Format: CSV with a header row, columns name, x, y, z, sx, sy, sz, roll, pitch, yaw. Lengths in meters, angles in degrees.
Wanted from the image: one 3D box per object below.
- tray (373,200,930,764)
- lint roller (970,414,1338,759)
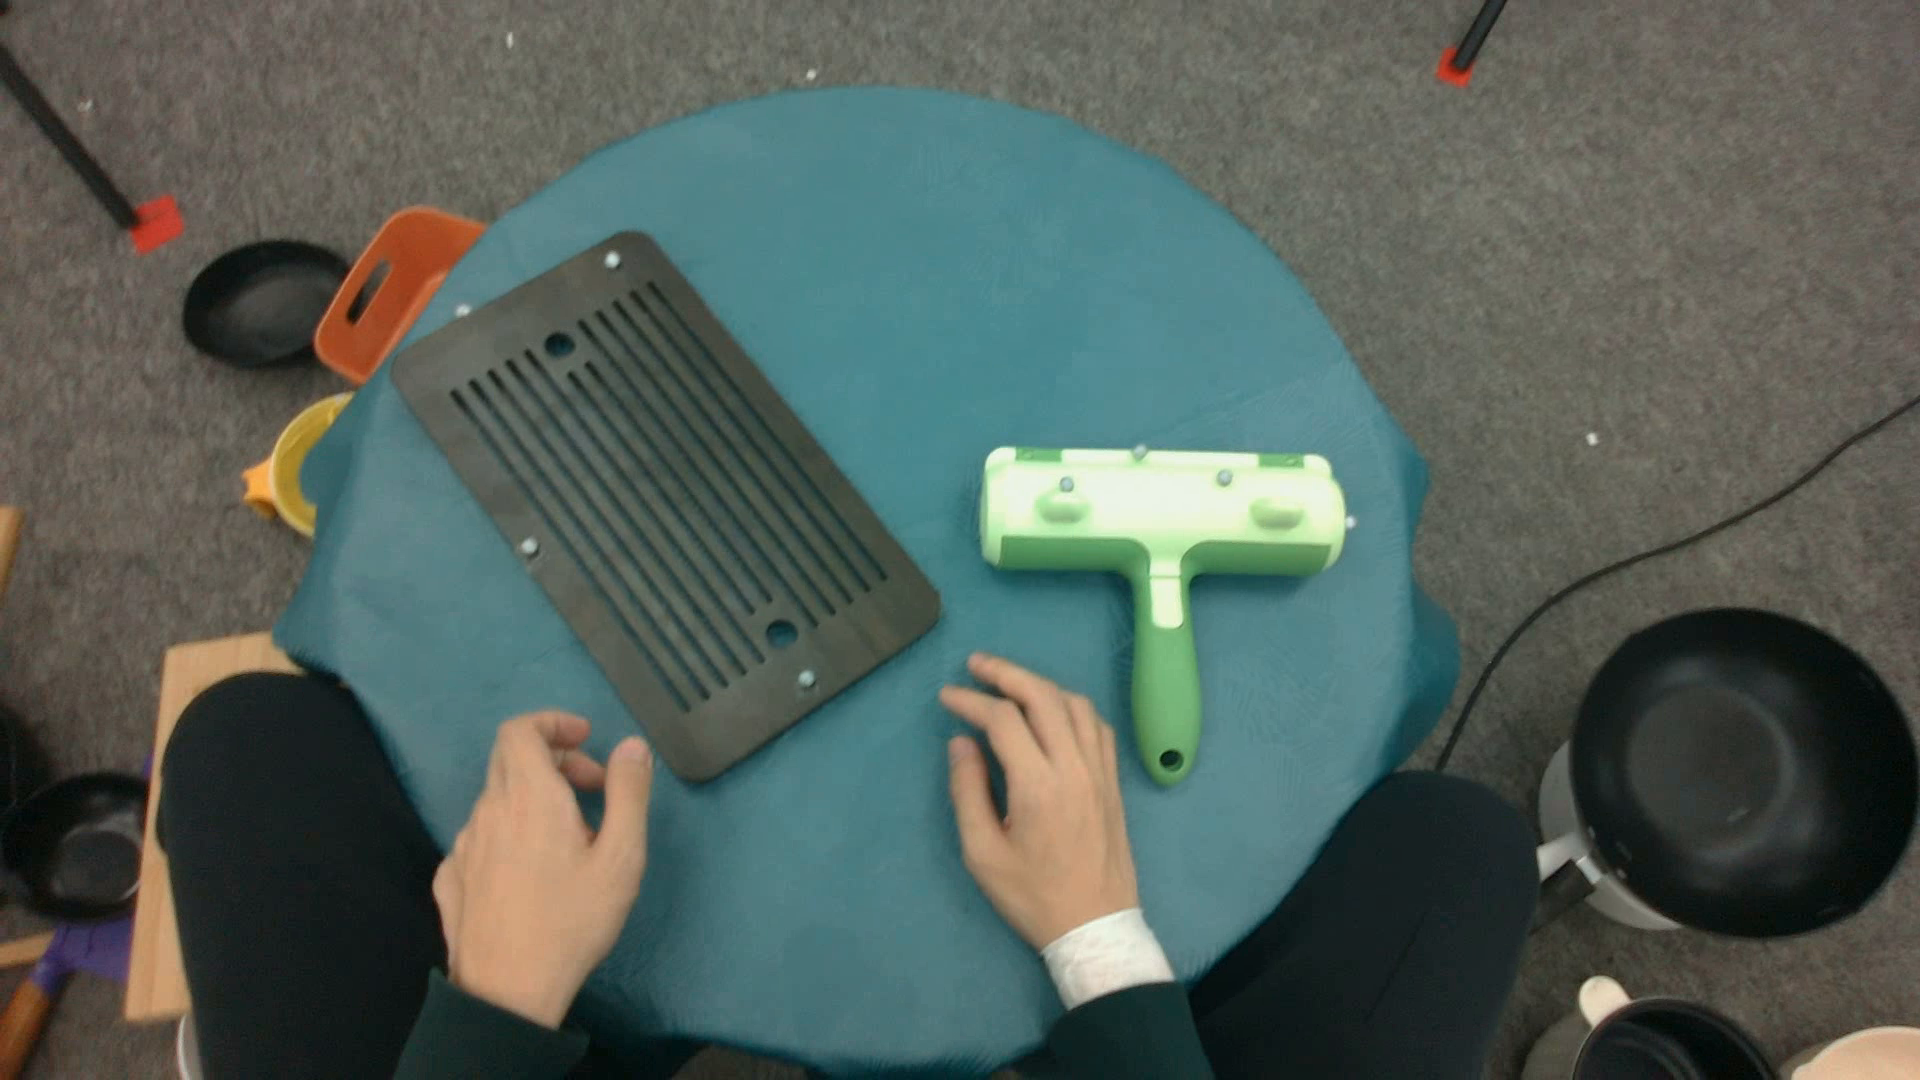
name,x,y,z,sx,sy,sz,roll,pitch,yaw
tray,-0.171,-0.041,0.757,0.170,0.018,0.306,-36,77,-16
lint roller,0.107,0.018,0.727,0.199,0.082,0.184,1,67,-5
